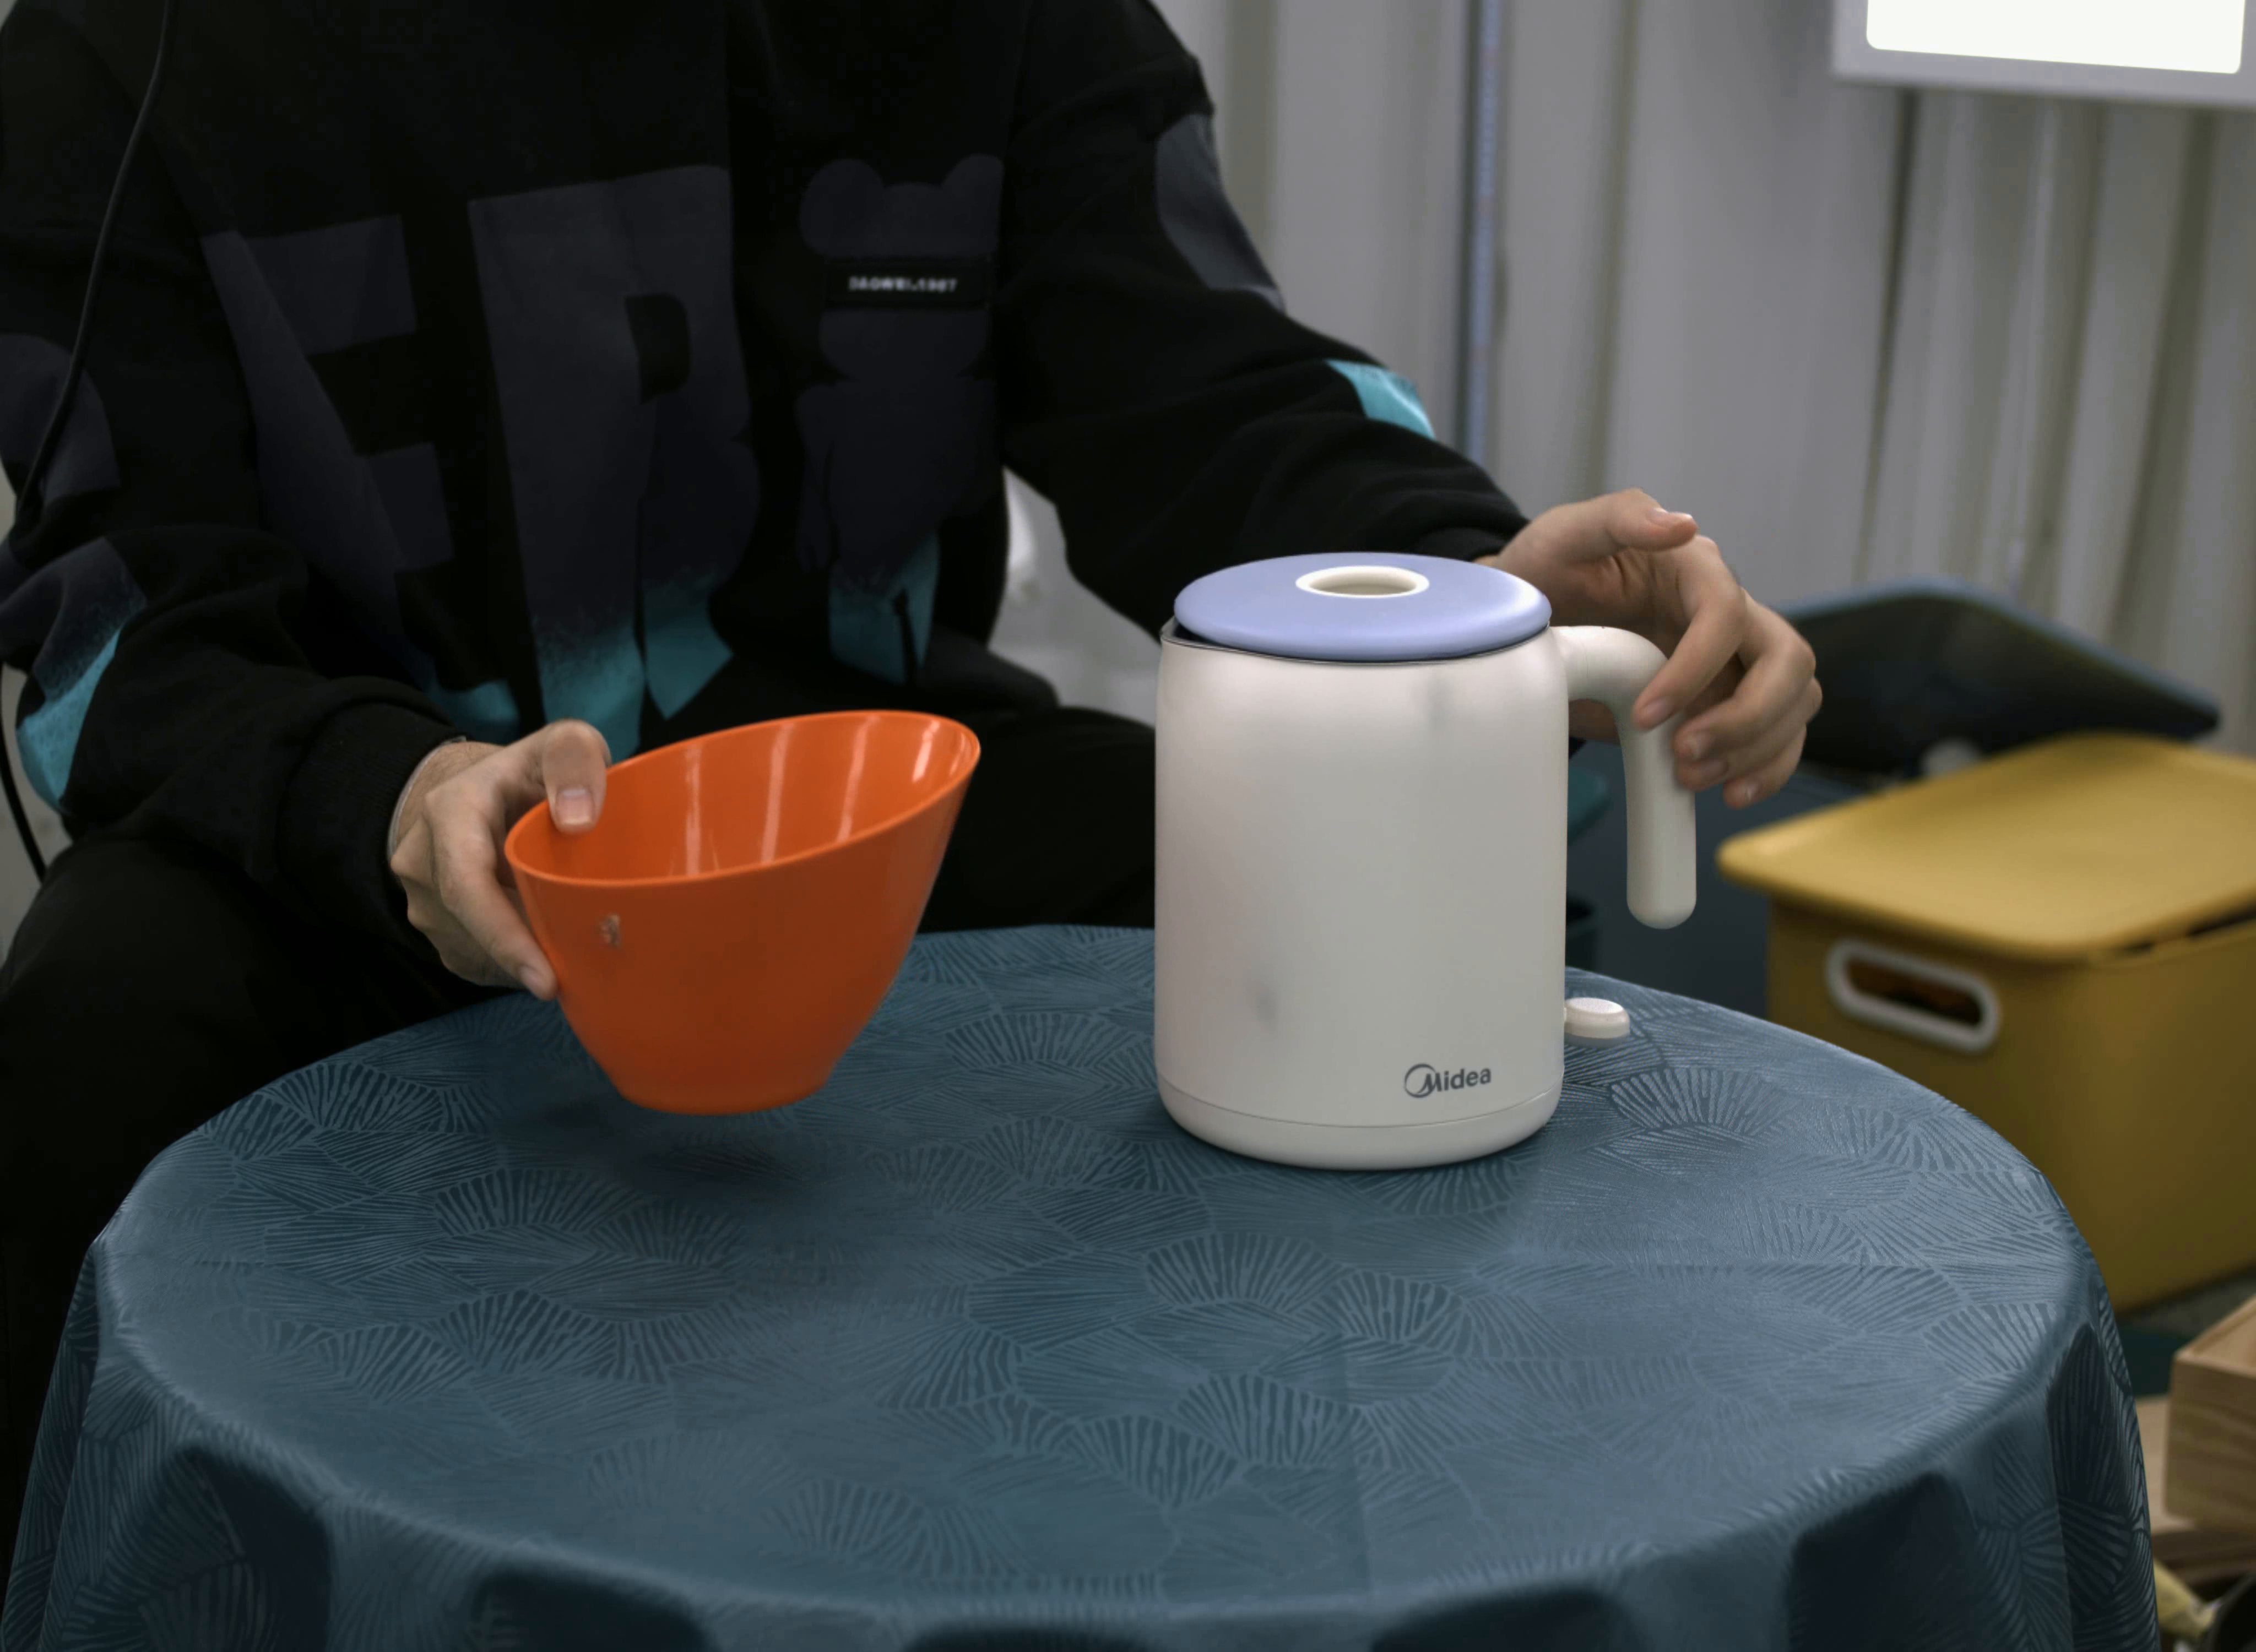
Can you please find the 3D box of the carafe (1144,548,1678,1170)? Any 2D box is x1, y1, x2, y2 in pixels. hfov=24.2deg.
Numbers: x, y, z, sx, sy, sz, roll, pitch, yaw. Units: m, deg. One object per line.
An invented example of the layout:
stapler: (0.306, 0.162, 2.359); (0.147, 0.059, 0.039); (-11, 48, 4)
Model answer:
carafe: (0.094, 0.008, 1.681); (0.192, 0.184, 0.130); (-5, 18, -25)

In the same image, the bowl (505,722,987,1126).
bowl: (-0.116, 0.032, 1.617); (0.147, 0.105, 0.147); (0, 17, 1)
